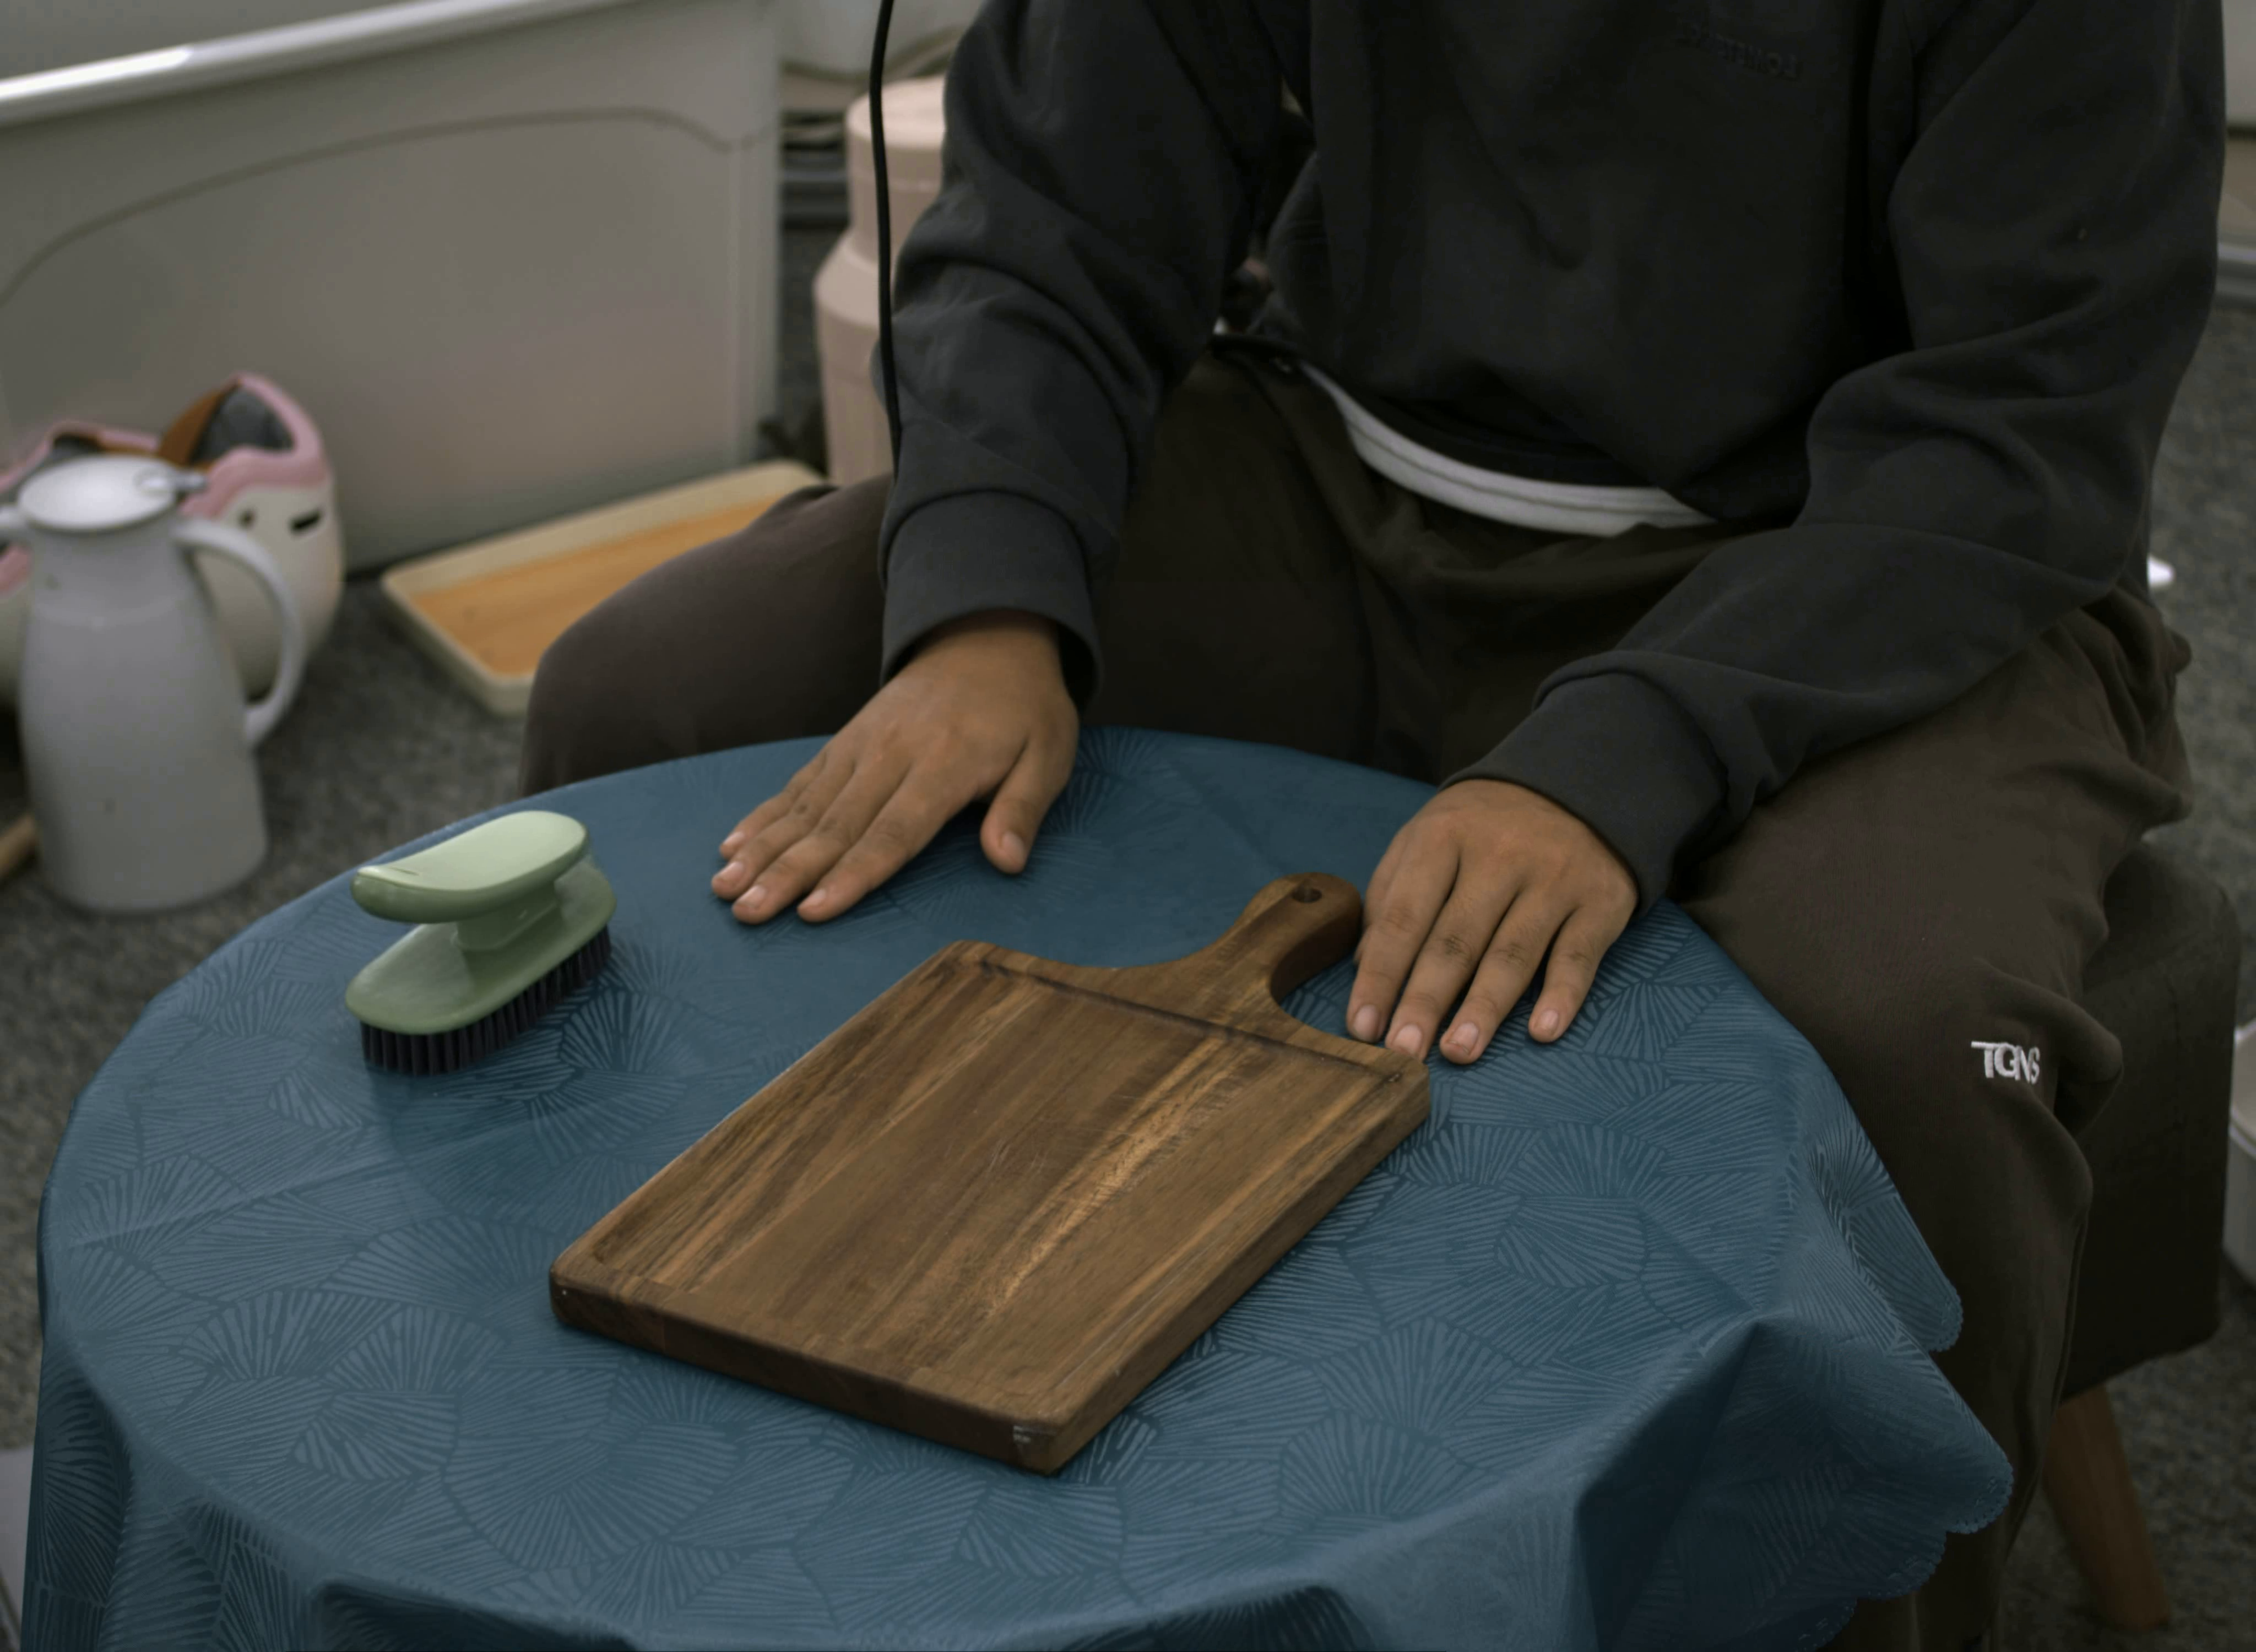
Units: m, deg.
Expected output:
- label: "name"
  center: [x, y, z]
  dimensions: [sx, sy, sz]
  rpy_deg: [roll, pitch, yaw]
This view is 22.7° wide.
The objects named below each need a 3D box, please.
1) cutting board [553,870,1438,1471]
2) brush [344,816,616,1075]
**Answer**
- label: "cutting board"
  center: [-0.014, 0.099, 1.888]
  dimensions: [0.200, 0.023, 0.358]
  rpy_deg: [14, 31, 28]
- label: "brush"
  center: [-0.230, 0.041, 1.985]
  dimensions: [0.059, 0.075, 0.124]
  rpy_deg: [12, 17, 27]
